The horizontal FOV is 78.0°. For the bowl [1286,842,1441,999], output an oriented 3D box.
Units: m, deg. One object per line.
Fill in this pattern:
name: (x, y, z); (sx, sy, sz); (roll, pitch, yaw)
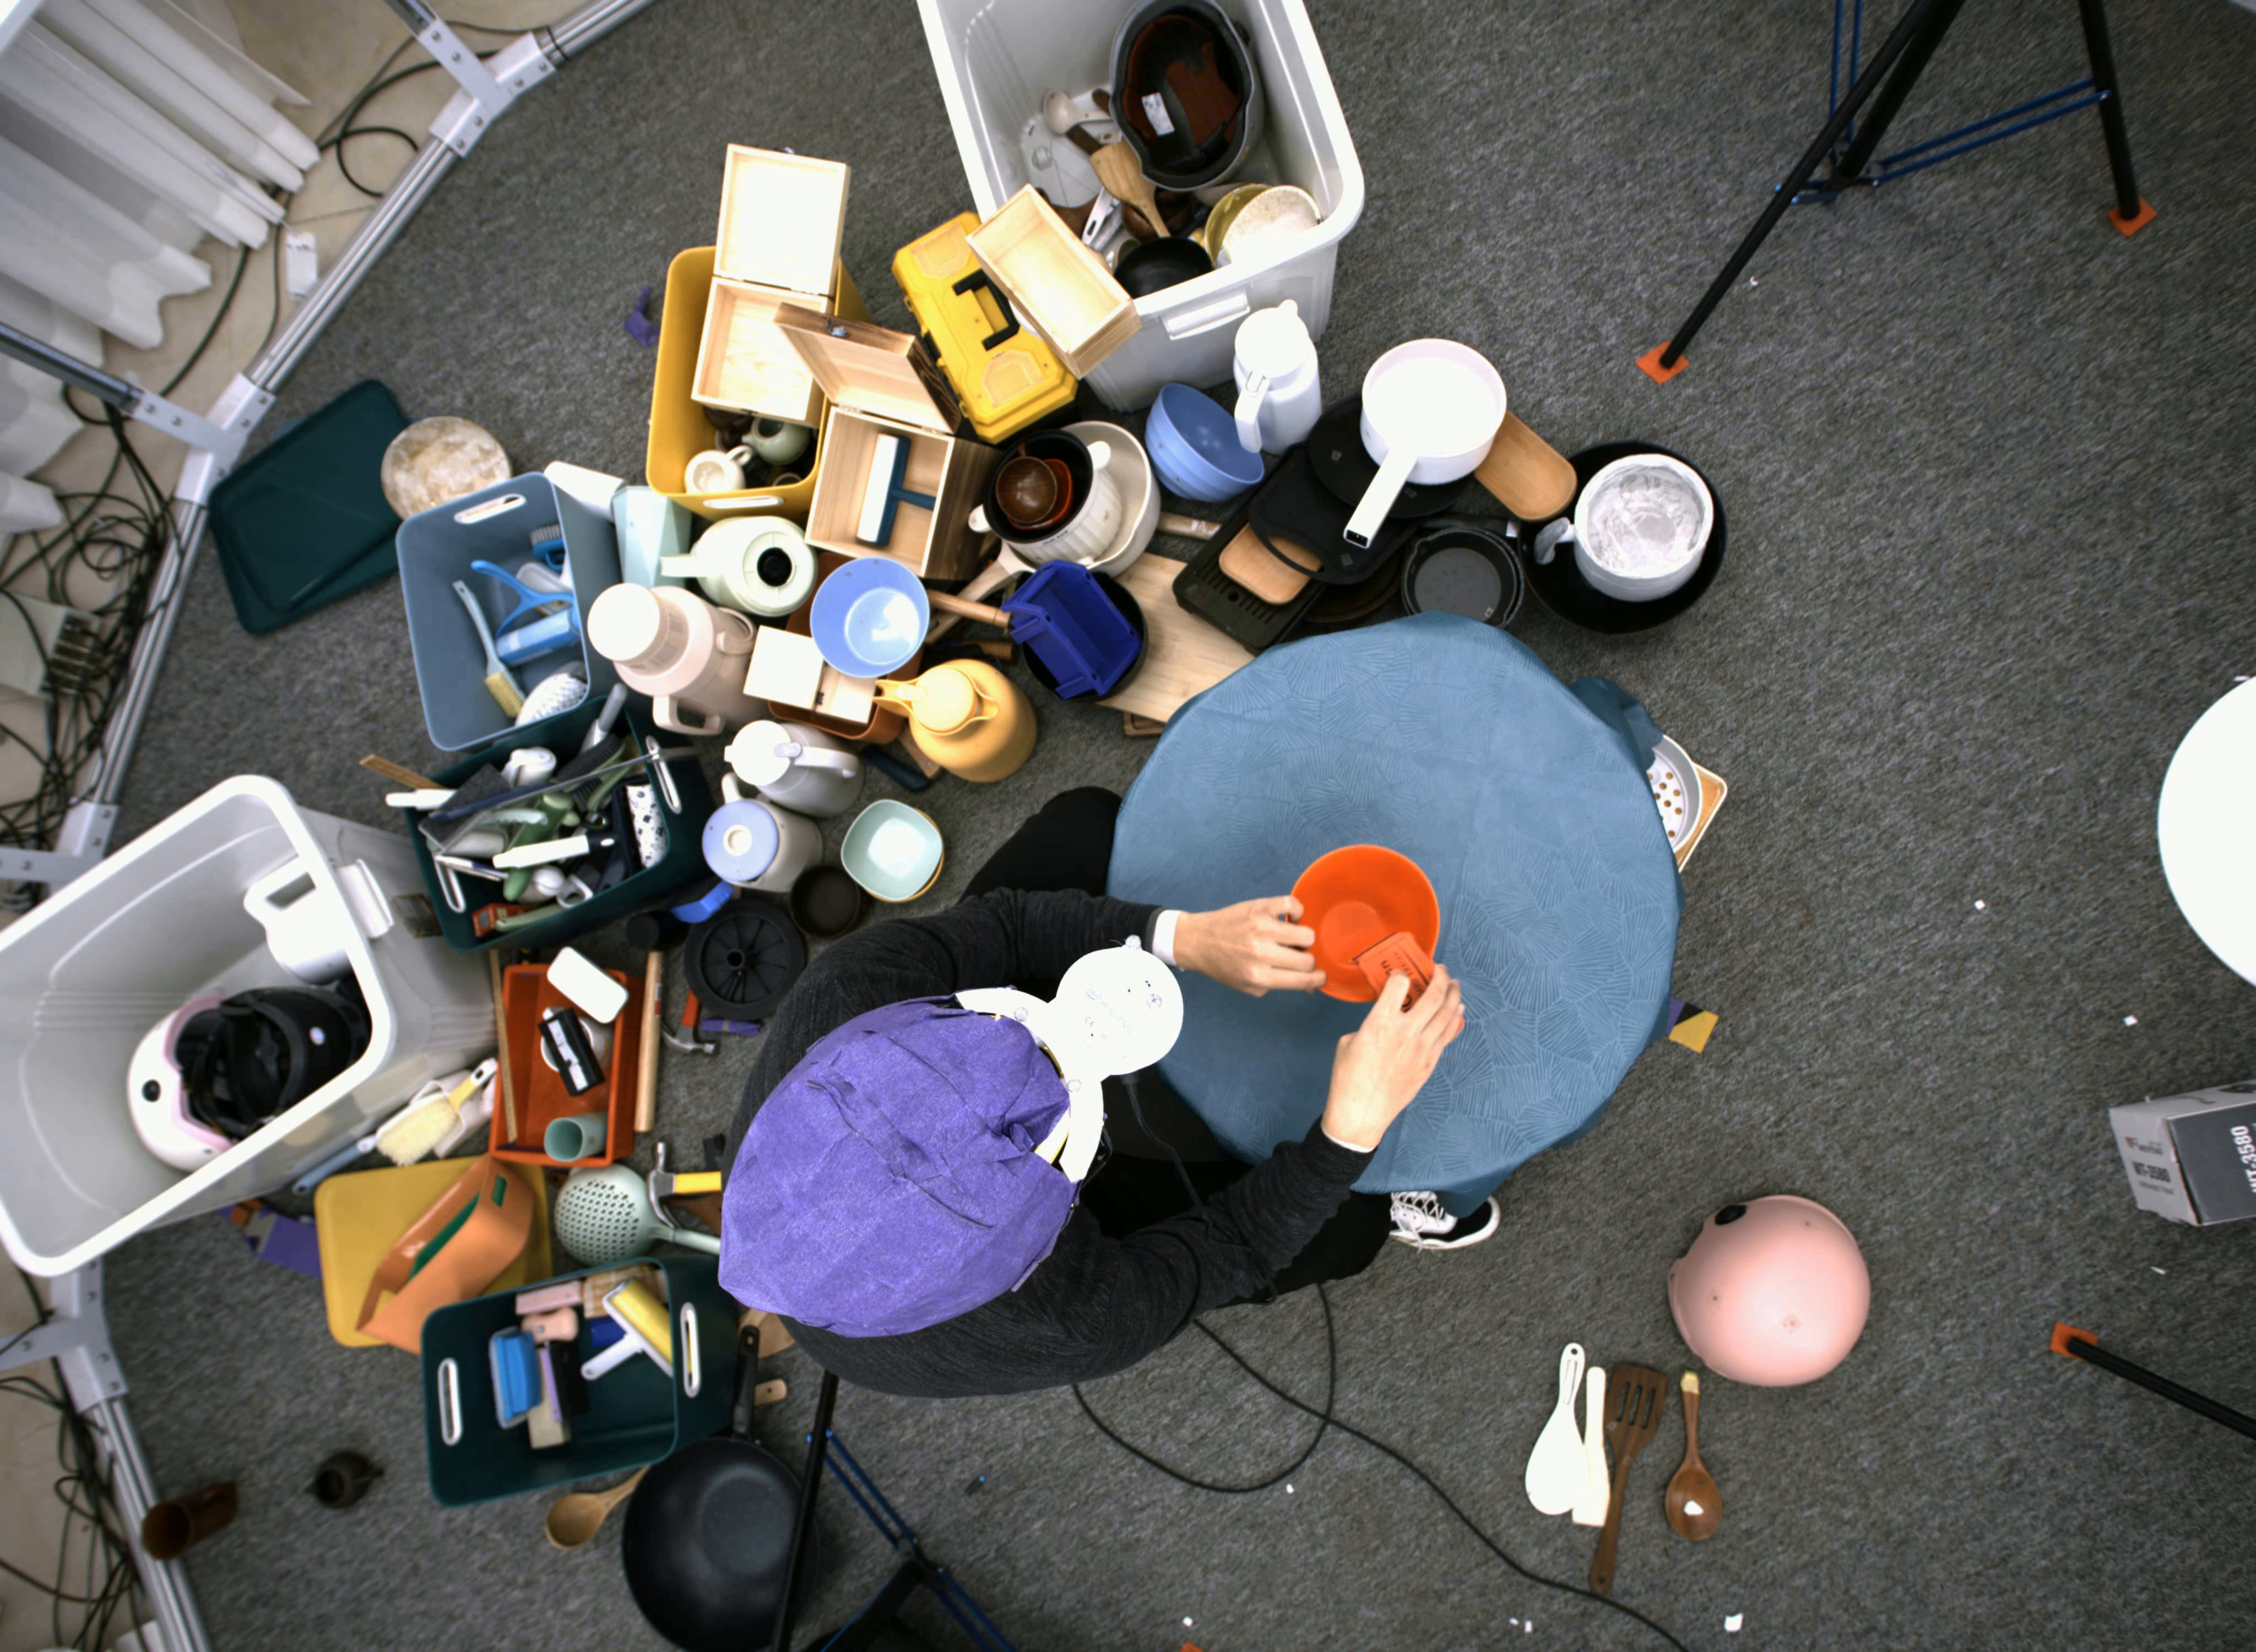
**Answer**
bowl: (0.223, 0.091, 1.343); (0.148, 0.105, 0.147); (0, 87, 1)

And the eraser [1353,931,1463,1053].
eraser: (0.262, 0.154, 1.296); (0.059, 0.023, 0.108); (-33, 89, 2)
